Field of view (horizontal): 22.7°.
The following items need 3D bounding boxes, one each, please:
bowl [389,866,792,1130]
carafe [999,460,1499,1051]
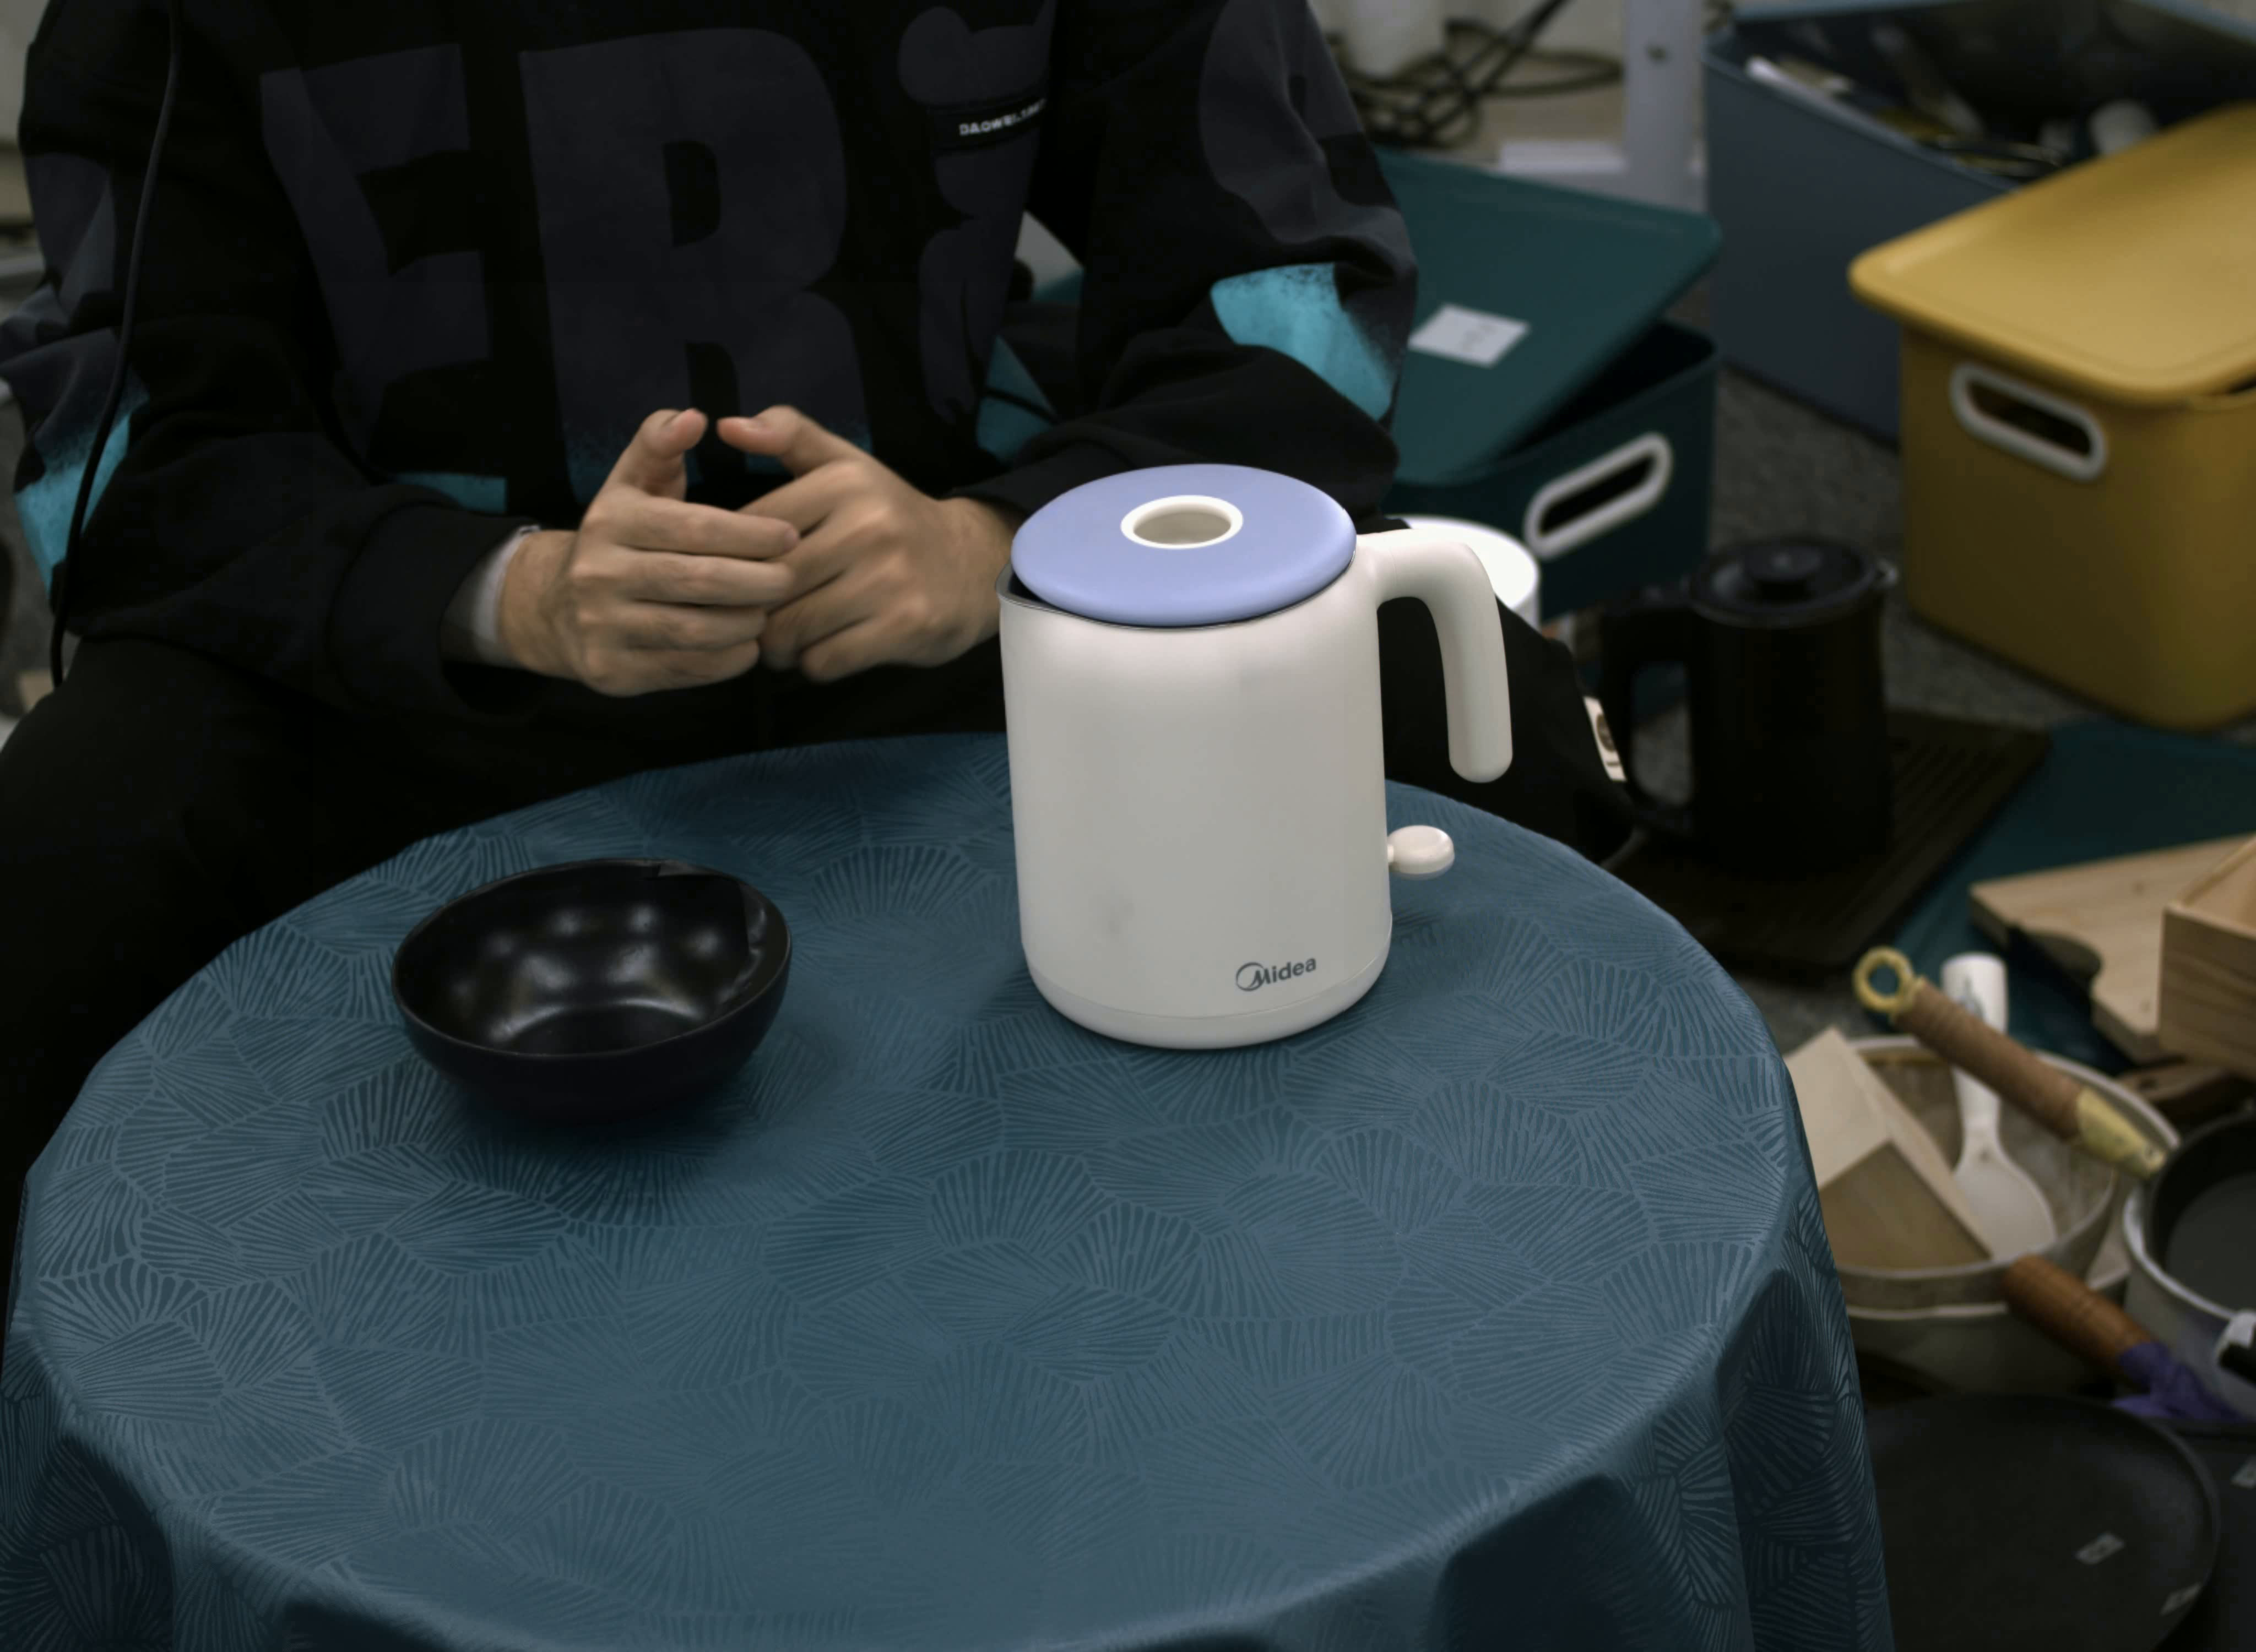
[{"bbox_3d":[-0.182,0.067,1.932,0.139,0.049,0.142,-4,25,2],"label":"bowl"},{"bbox_3d":[0.045,-0.030,1.965,0.192,0.180,0.133,-12,29,-21],"label":"carafe"}]
